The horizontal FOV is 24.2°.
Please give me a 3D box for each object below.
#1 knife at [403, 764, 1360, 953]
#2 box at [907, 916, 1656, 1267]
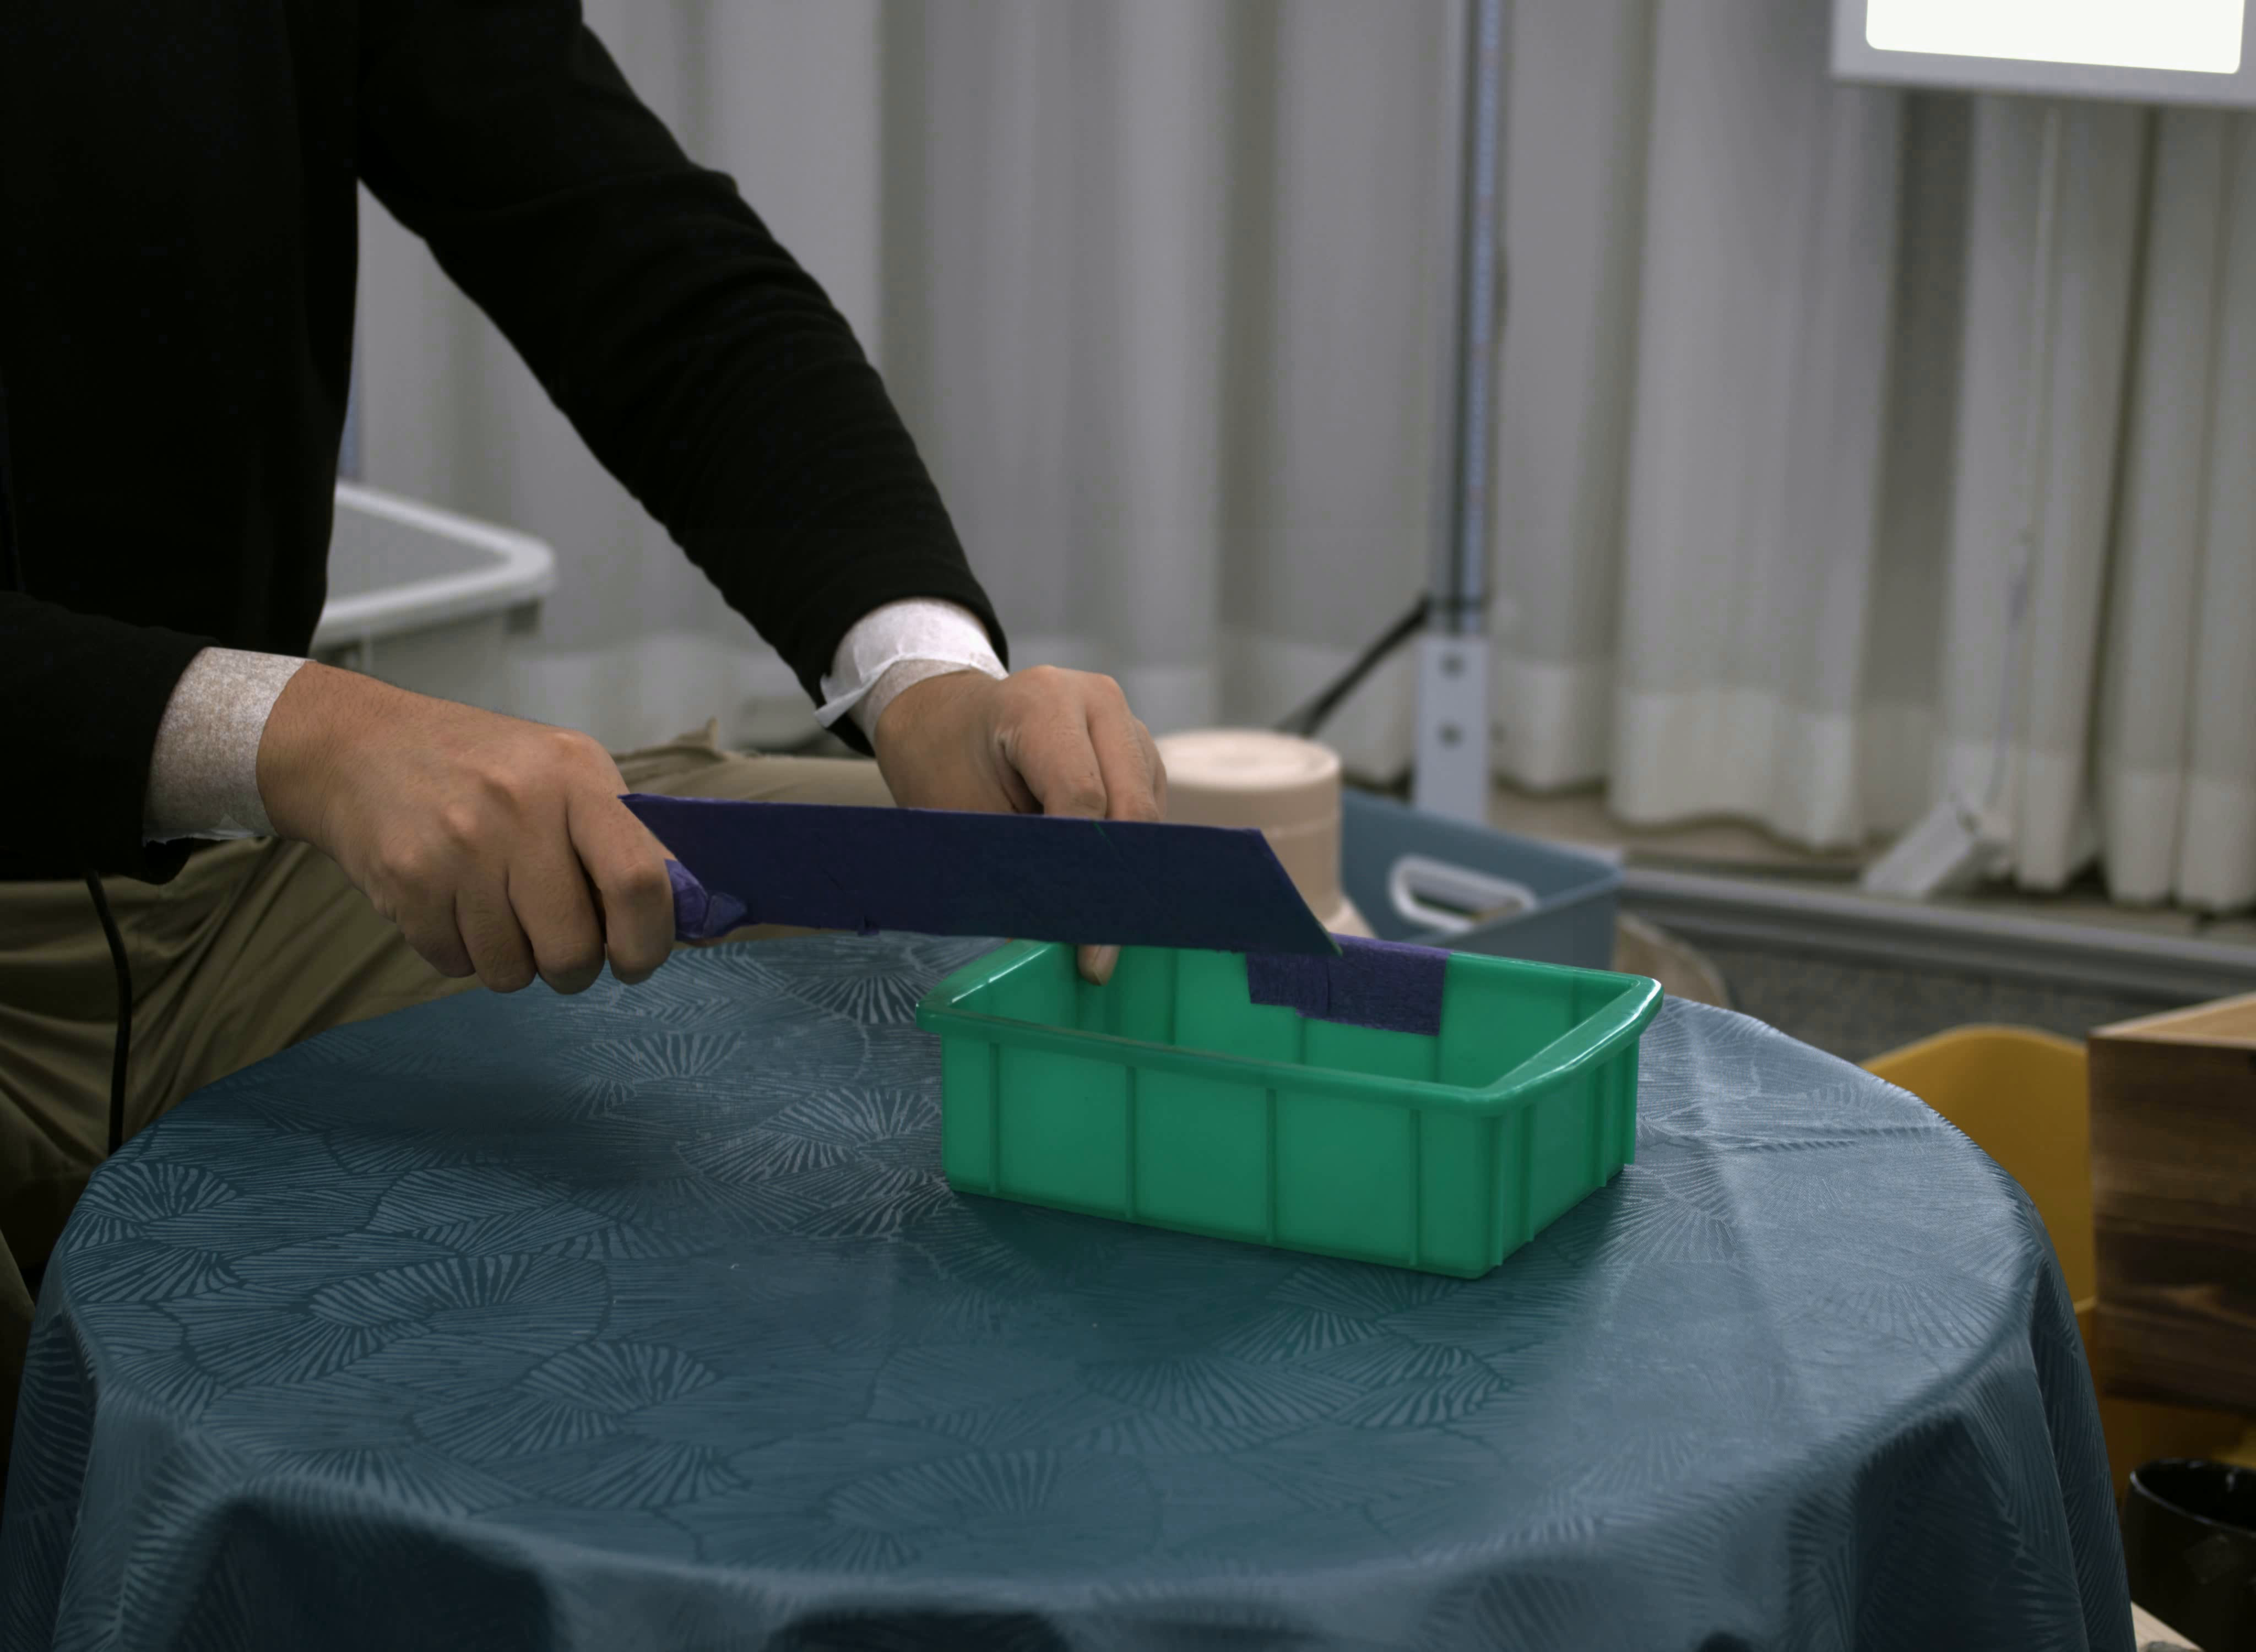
[{"bbox_3d":[-0.089,0.008,1.588,0.312,0.032,0.105,1,-25,21],"label":"knife"},{"bbox_3d":[0.048,0.079,1.624,0.208,0.066,0.139,6,15,25],"label":"box"}]
